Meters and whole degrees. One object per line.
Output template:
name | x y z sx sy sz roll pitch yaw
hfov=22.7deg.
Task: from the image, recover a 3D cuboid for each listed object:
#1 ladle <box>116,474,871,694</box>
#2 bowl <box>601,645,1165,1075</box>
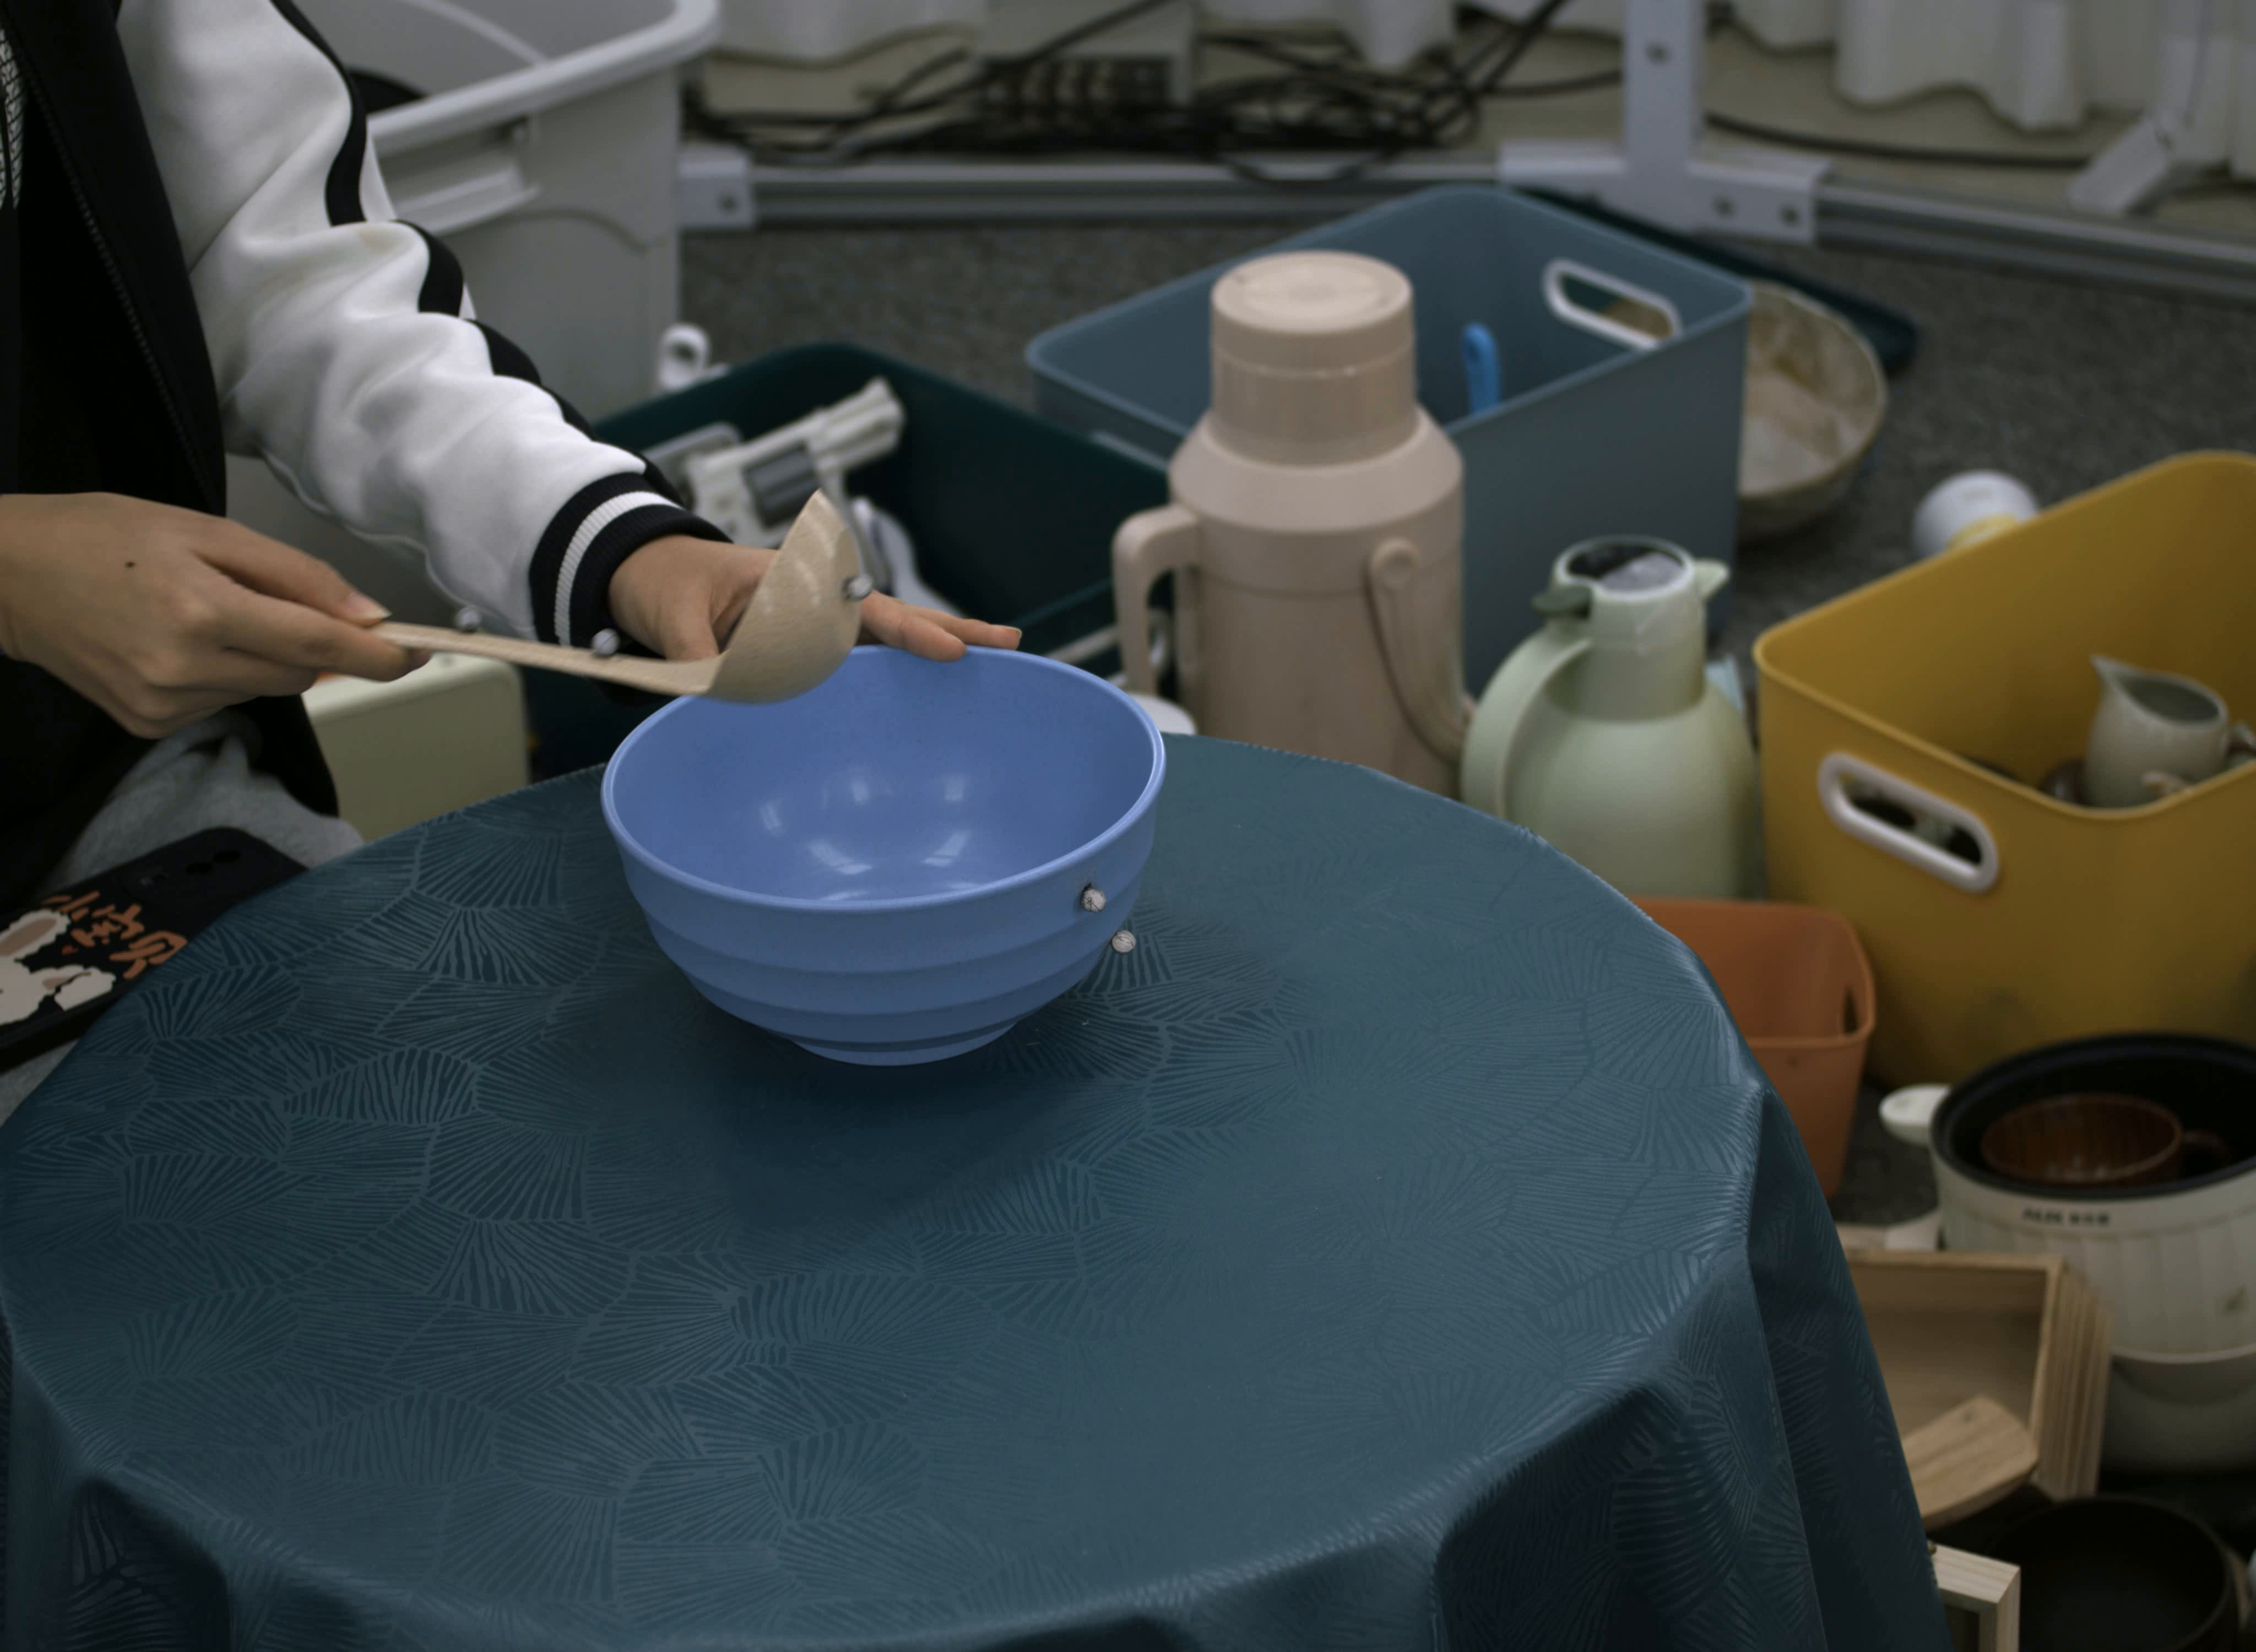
ladle | -0.211 -0.085 1.845 0.253 0.072 0.073 4 23 6
bowl | -0.081 0.024 1.964 0.195 0.094 0.199 -3 28 2
